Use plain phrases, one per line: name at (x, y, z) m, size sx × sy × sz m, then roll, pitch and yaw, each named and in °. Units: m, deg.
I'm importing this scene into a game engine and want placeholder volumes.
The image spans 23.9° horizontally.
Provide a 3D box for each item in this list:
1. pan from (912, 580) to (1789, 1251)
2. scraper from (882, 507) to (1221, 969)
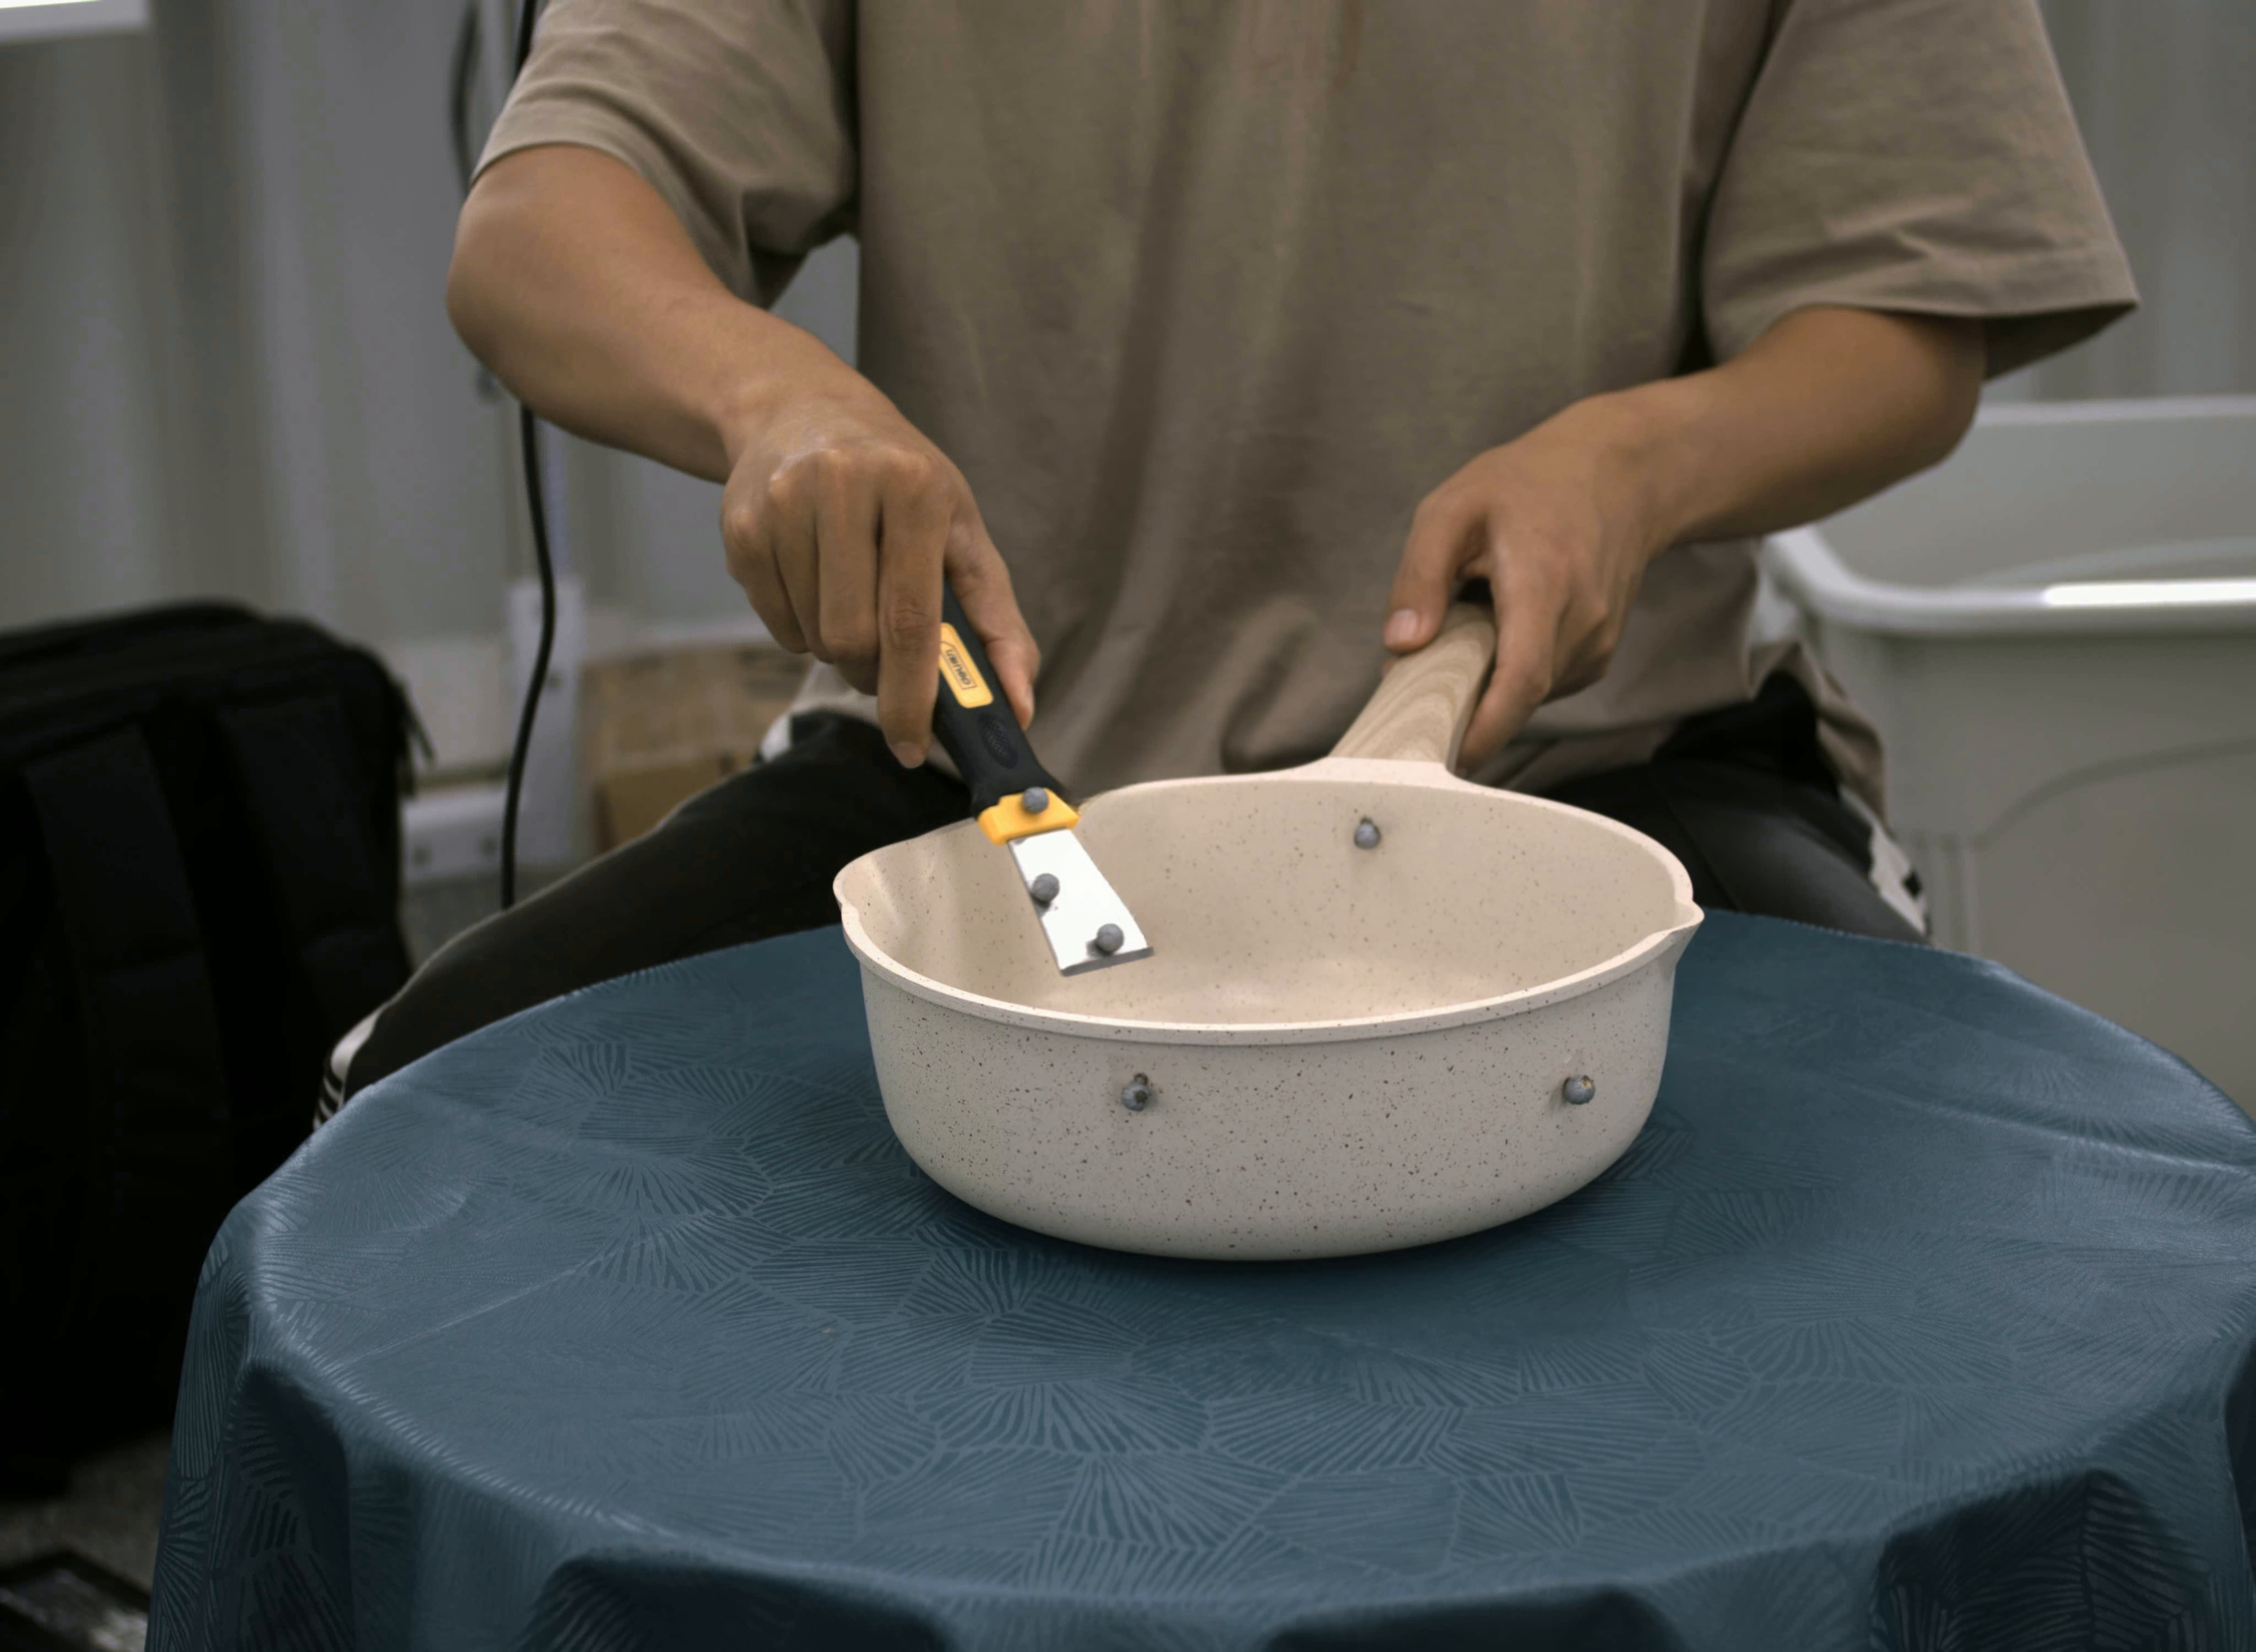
pan at (0.091, 0.024, 1.652) m, size 0.266 × 0.102 × 0.431 m, roll 0°, pitch 16°, yaw 18°
scraper at (-0.027, -0.029, 1.617) m, size 0.038 × 0.015 × 0.174 m, roll -18°, pitch 63°, yaw -25°
